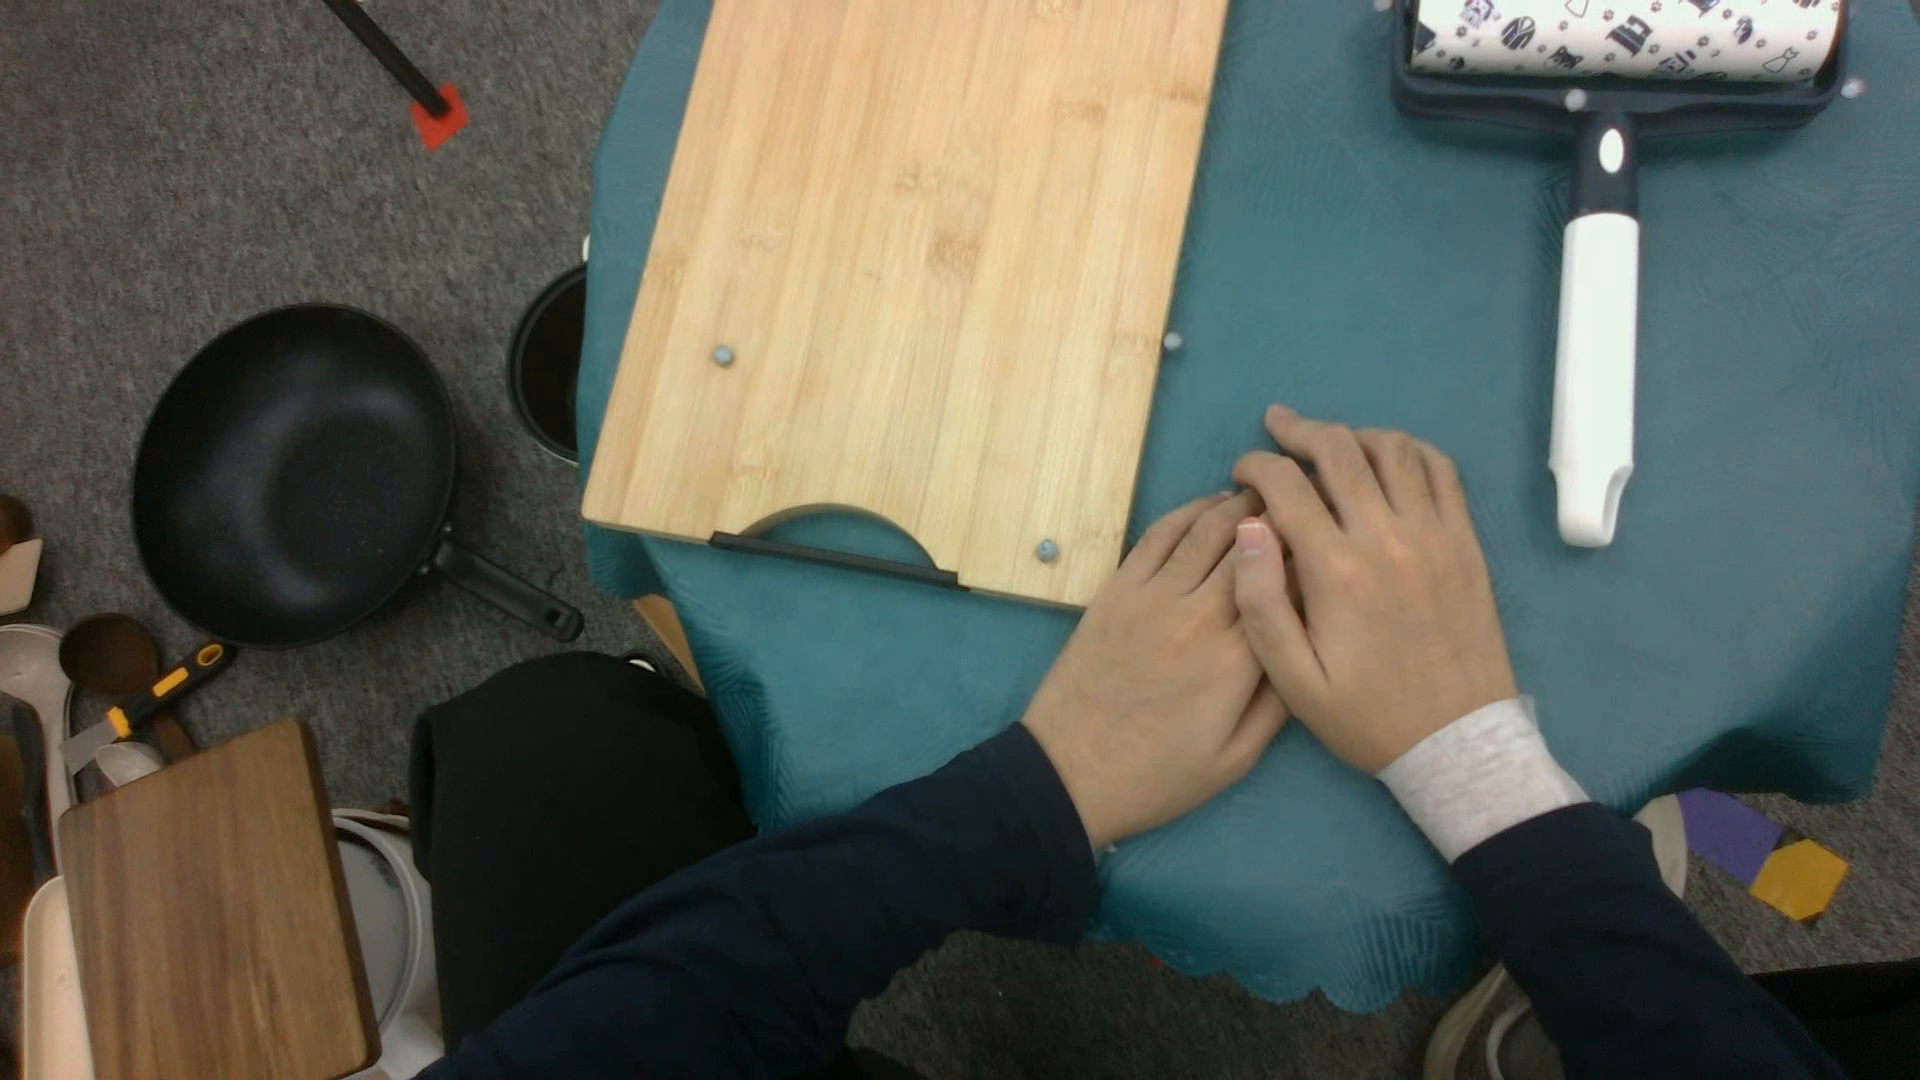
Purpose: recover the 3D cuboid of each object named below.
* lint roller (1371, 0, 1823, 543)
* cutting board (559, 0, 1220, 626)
[{"bbox_3d":[0.257,-0.122,0.565,0.176,0.050,0.247,4,79,9],"label":"lint roller"},{"bbox_3d":[-0.024,-0.150,0.629,0.250,0.023,0.349,9,78,11],"label":"cutting board"}]
